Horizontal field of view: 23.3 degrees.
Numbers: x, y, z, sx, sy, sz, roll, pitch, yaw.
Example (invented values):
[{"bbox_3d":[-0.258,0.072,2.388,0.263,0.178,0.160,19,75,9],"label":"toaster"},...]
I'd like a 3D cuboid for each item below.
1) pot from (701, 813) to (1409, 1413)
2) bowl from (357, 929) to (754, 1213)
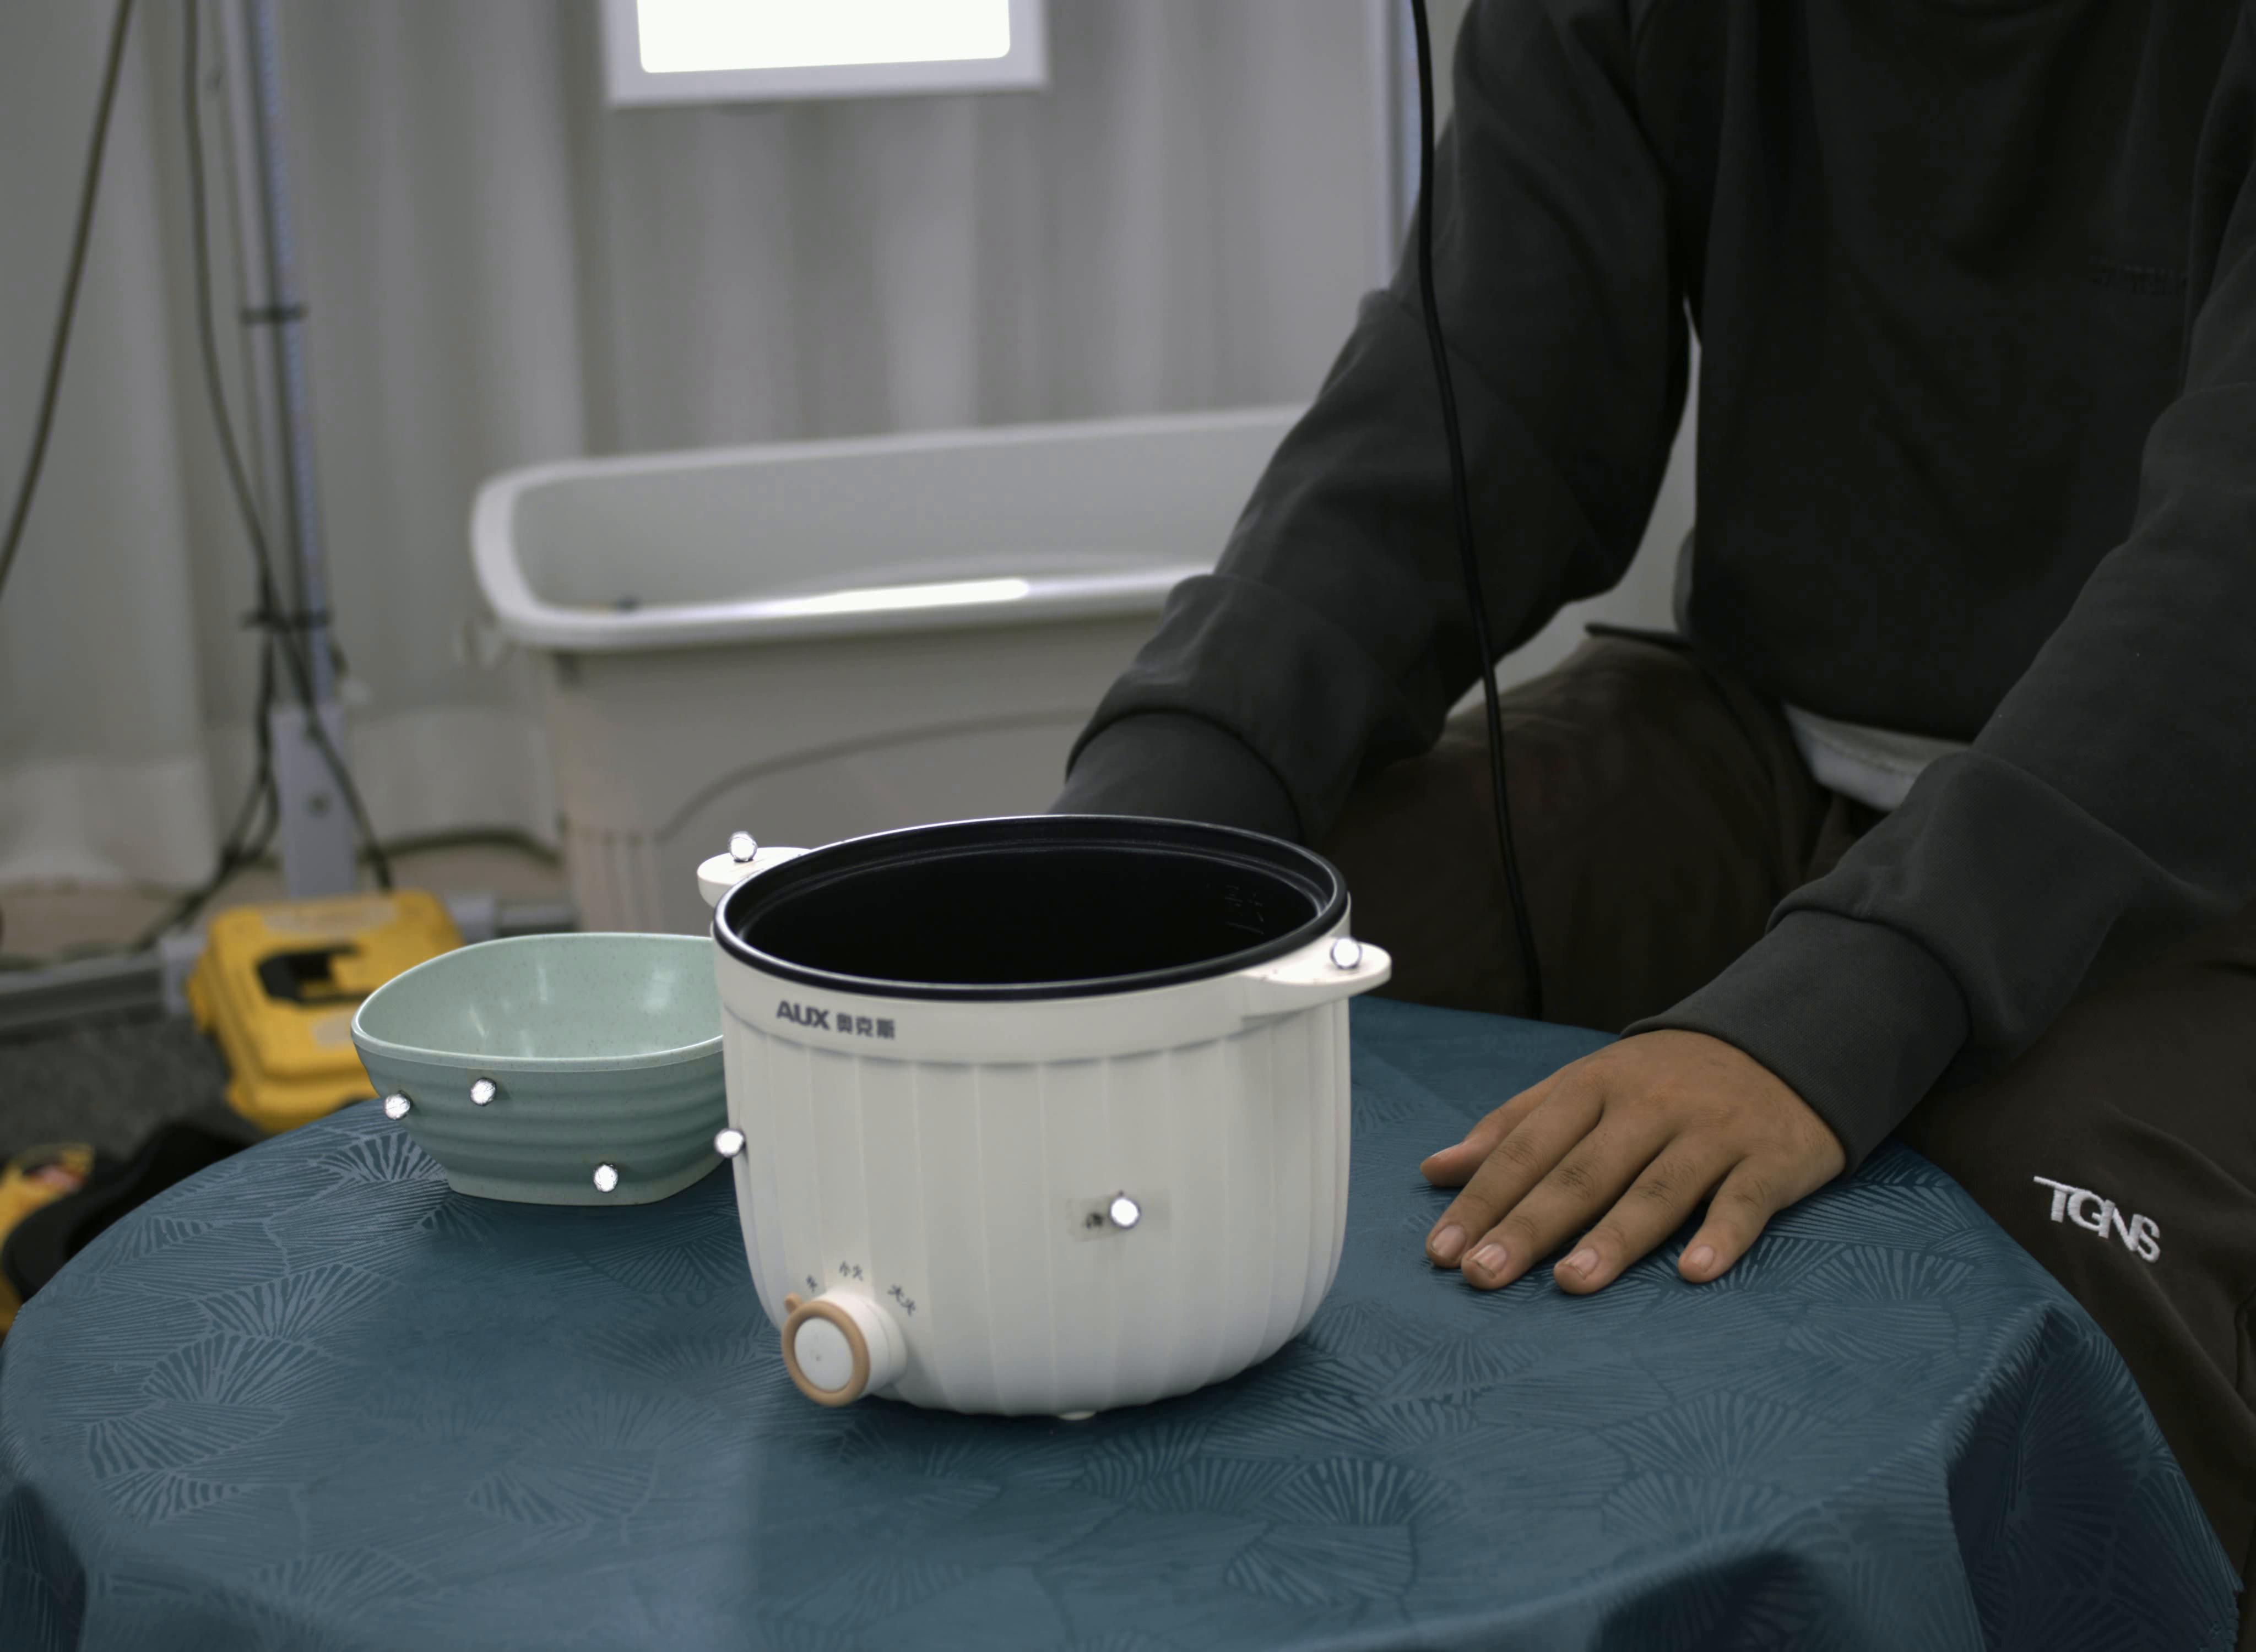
[{"bbox_3d":[-0.024,0.084,1.564,0.241,0.142,0.190,6,13,36],"label":"pot"},{"bbox_3d":[-0.172,0.082,1.761,0.151,0.058,0.152,-3,16,1],"label":"bowl"}]
